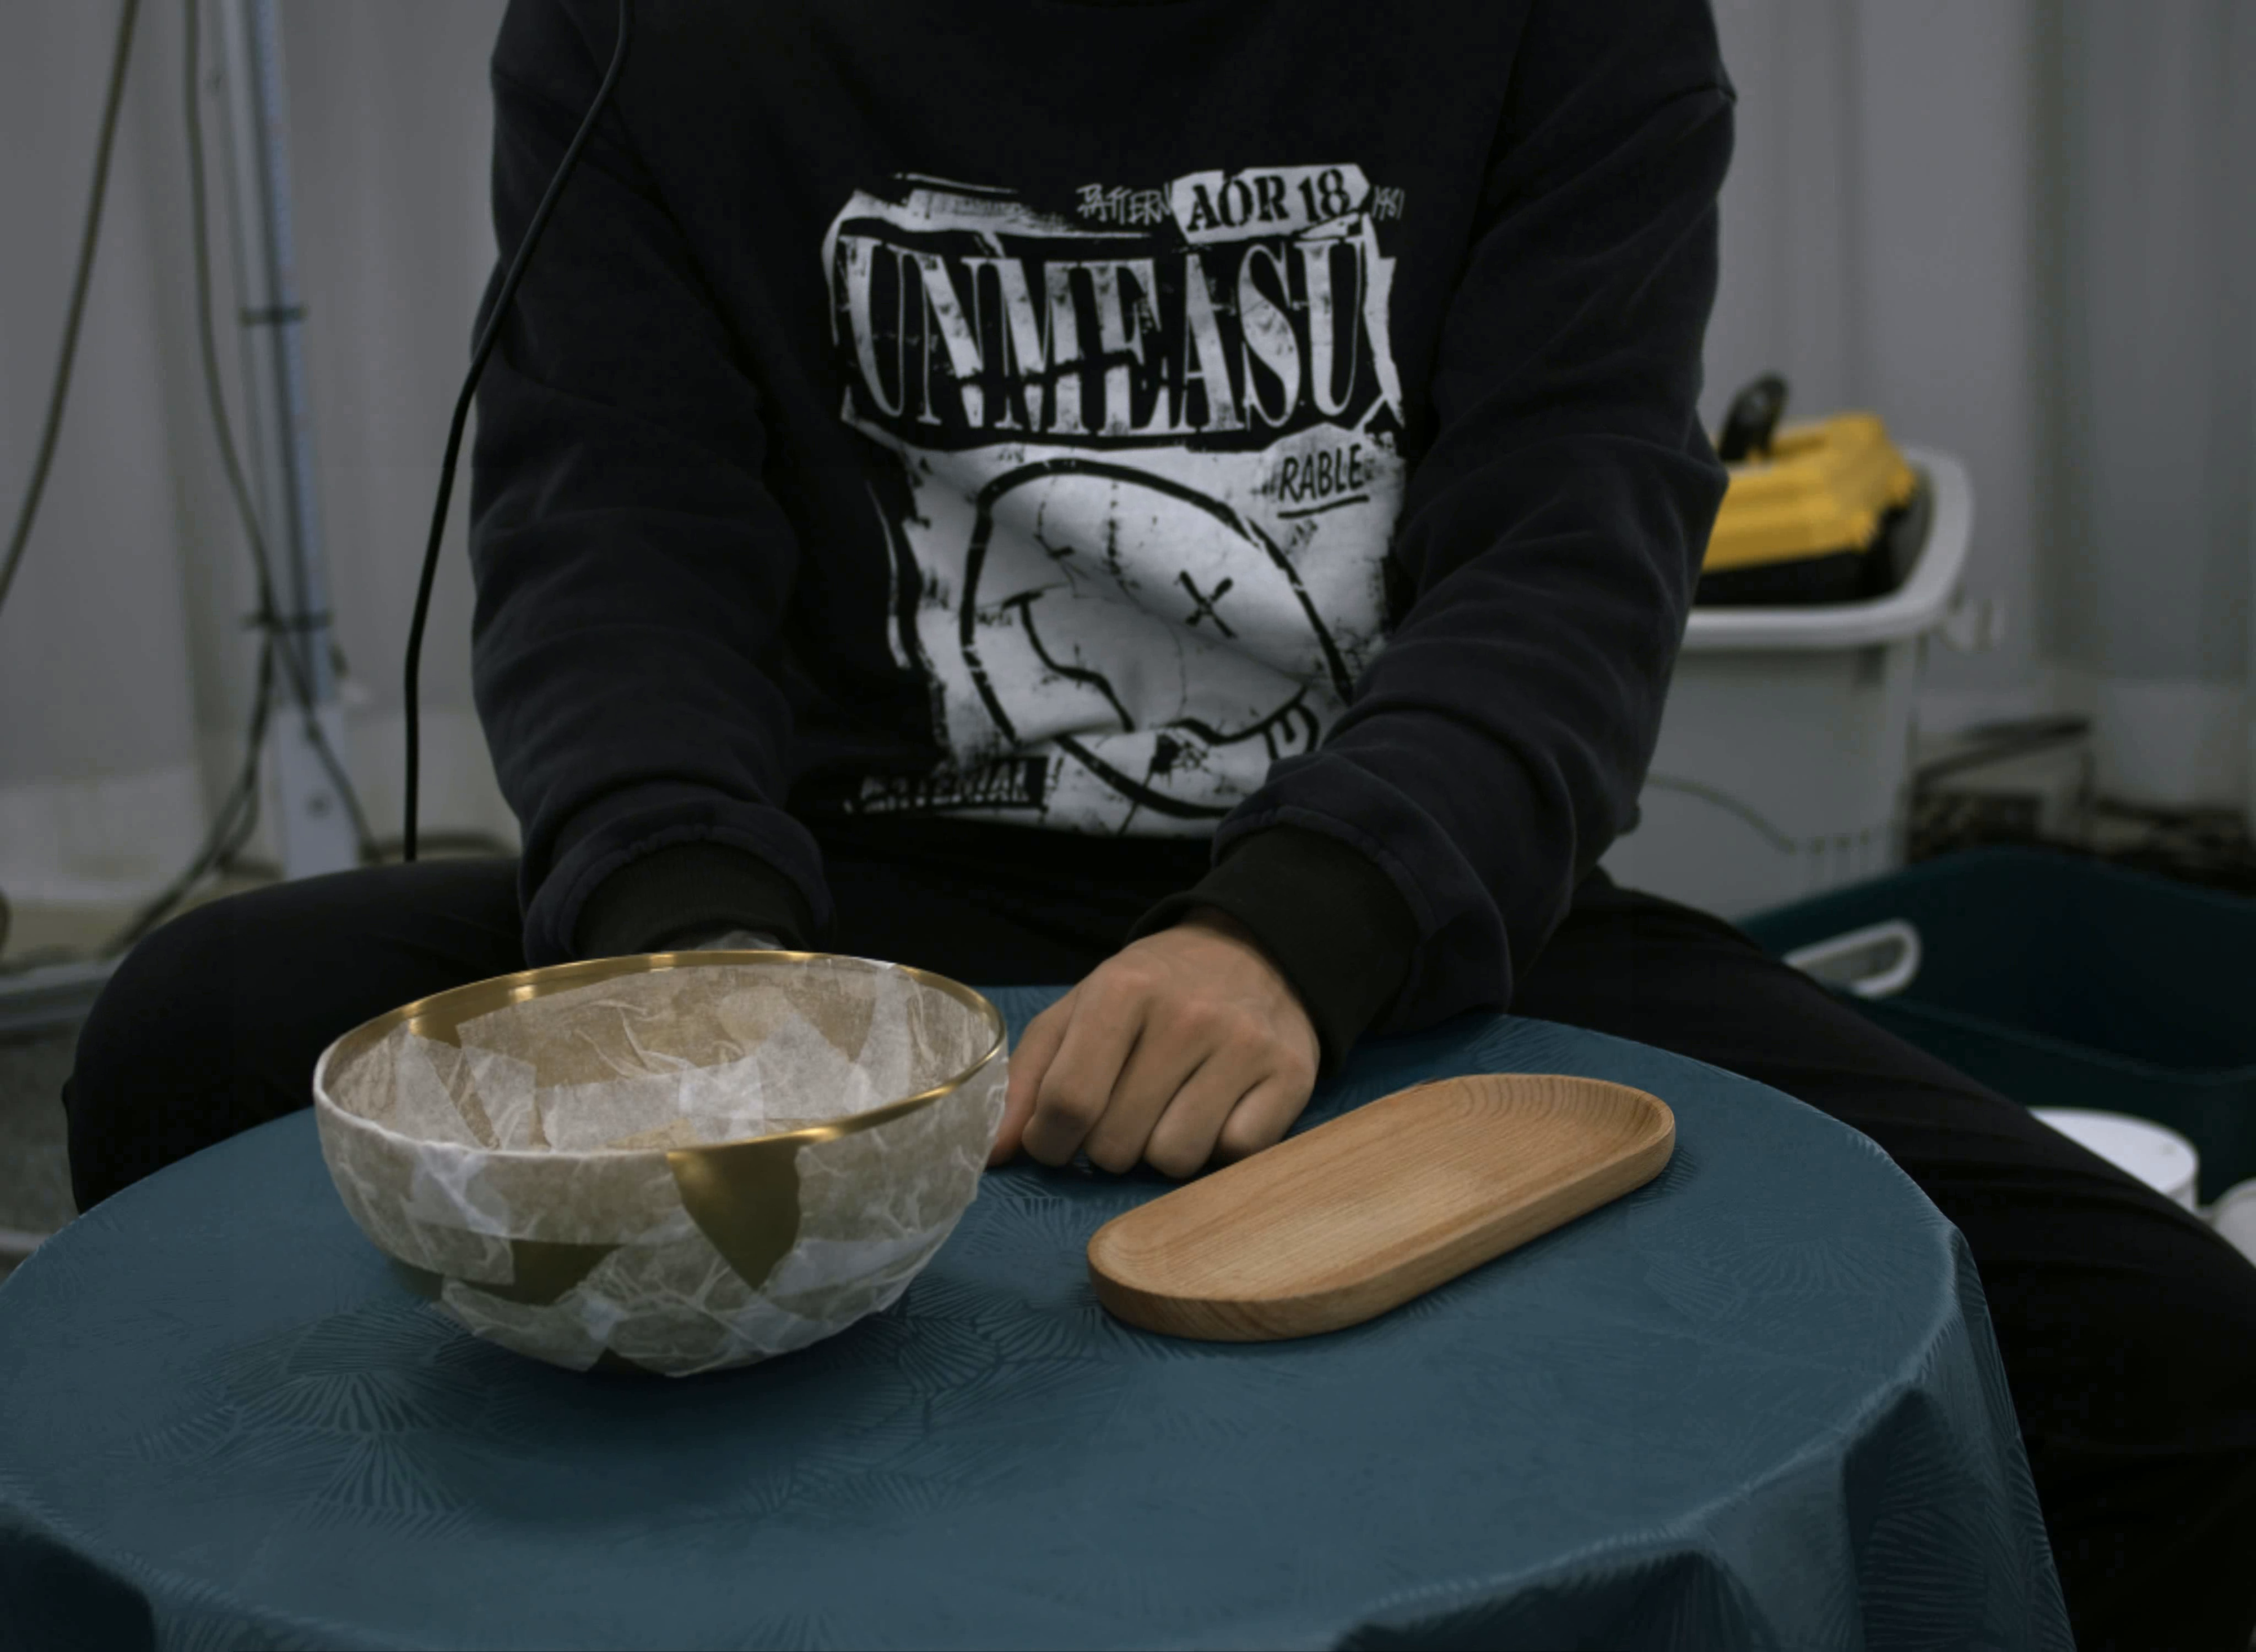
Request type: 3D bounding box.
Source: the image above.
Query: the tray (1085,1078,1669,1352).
[{"bbox_3d":[0.078,0.117,1.664,0.102,0.020,0.231,6,19,38],"label":"tray"}]

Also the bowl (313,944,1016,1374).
[{"bbox_3d":[-0.128,0.105,1.595,0.214,0.094,0.216,-4,14,1],"label":"bowl"}]
